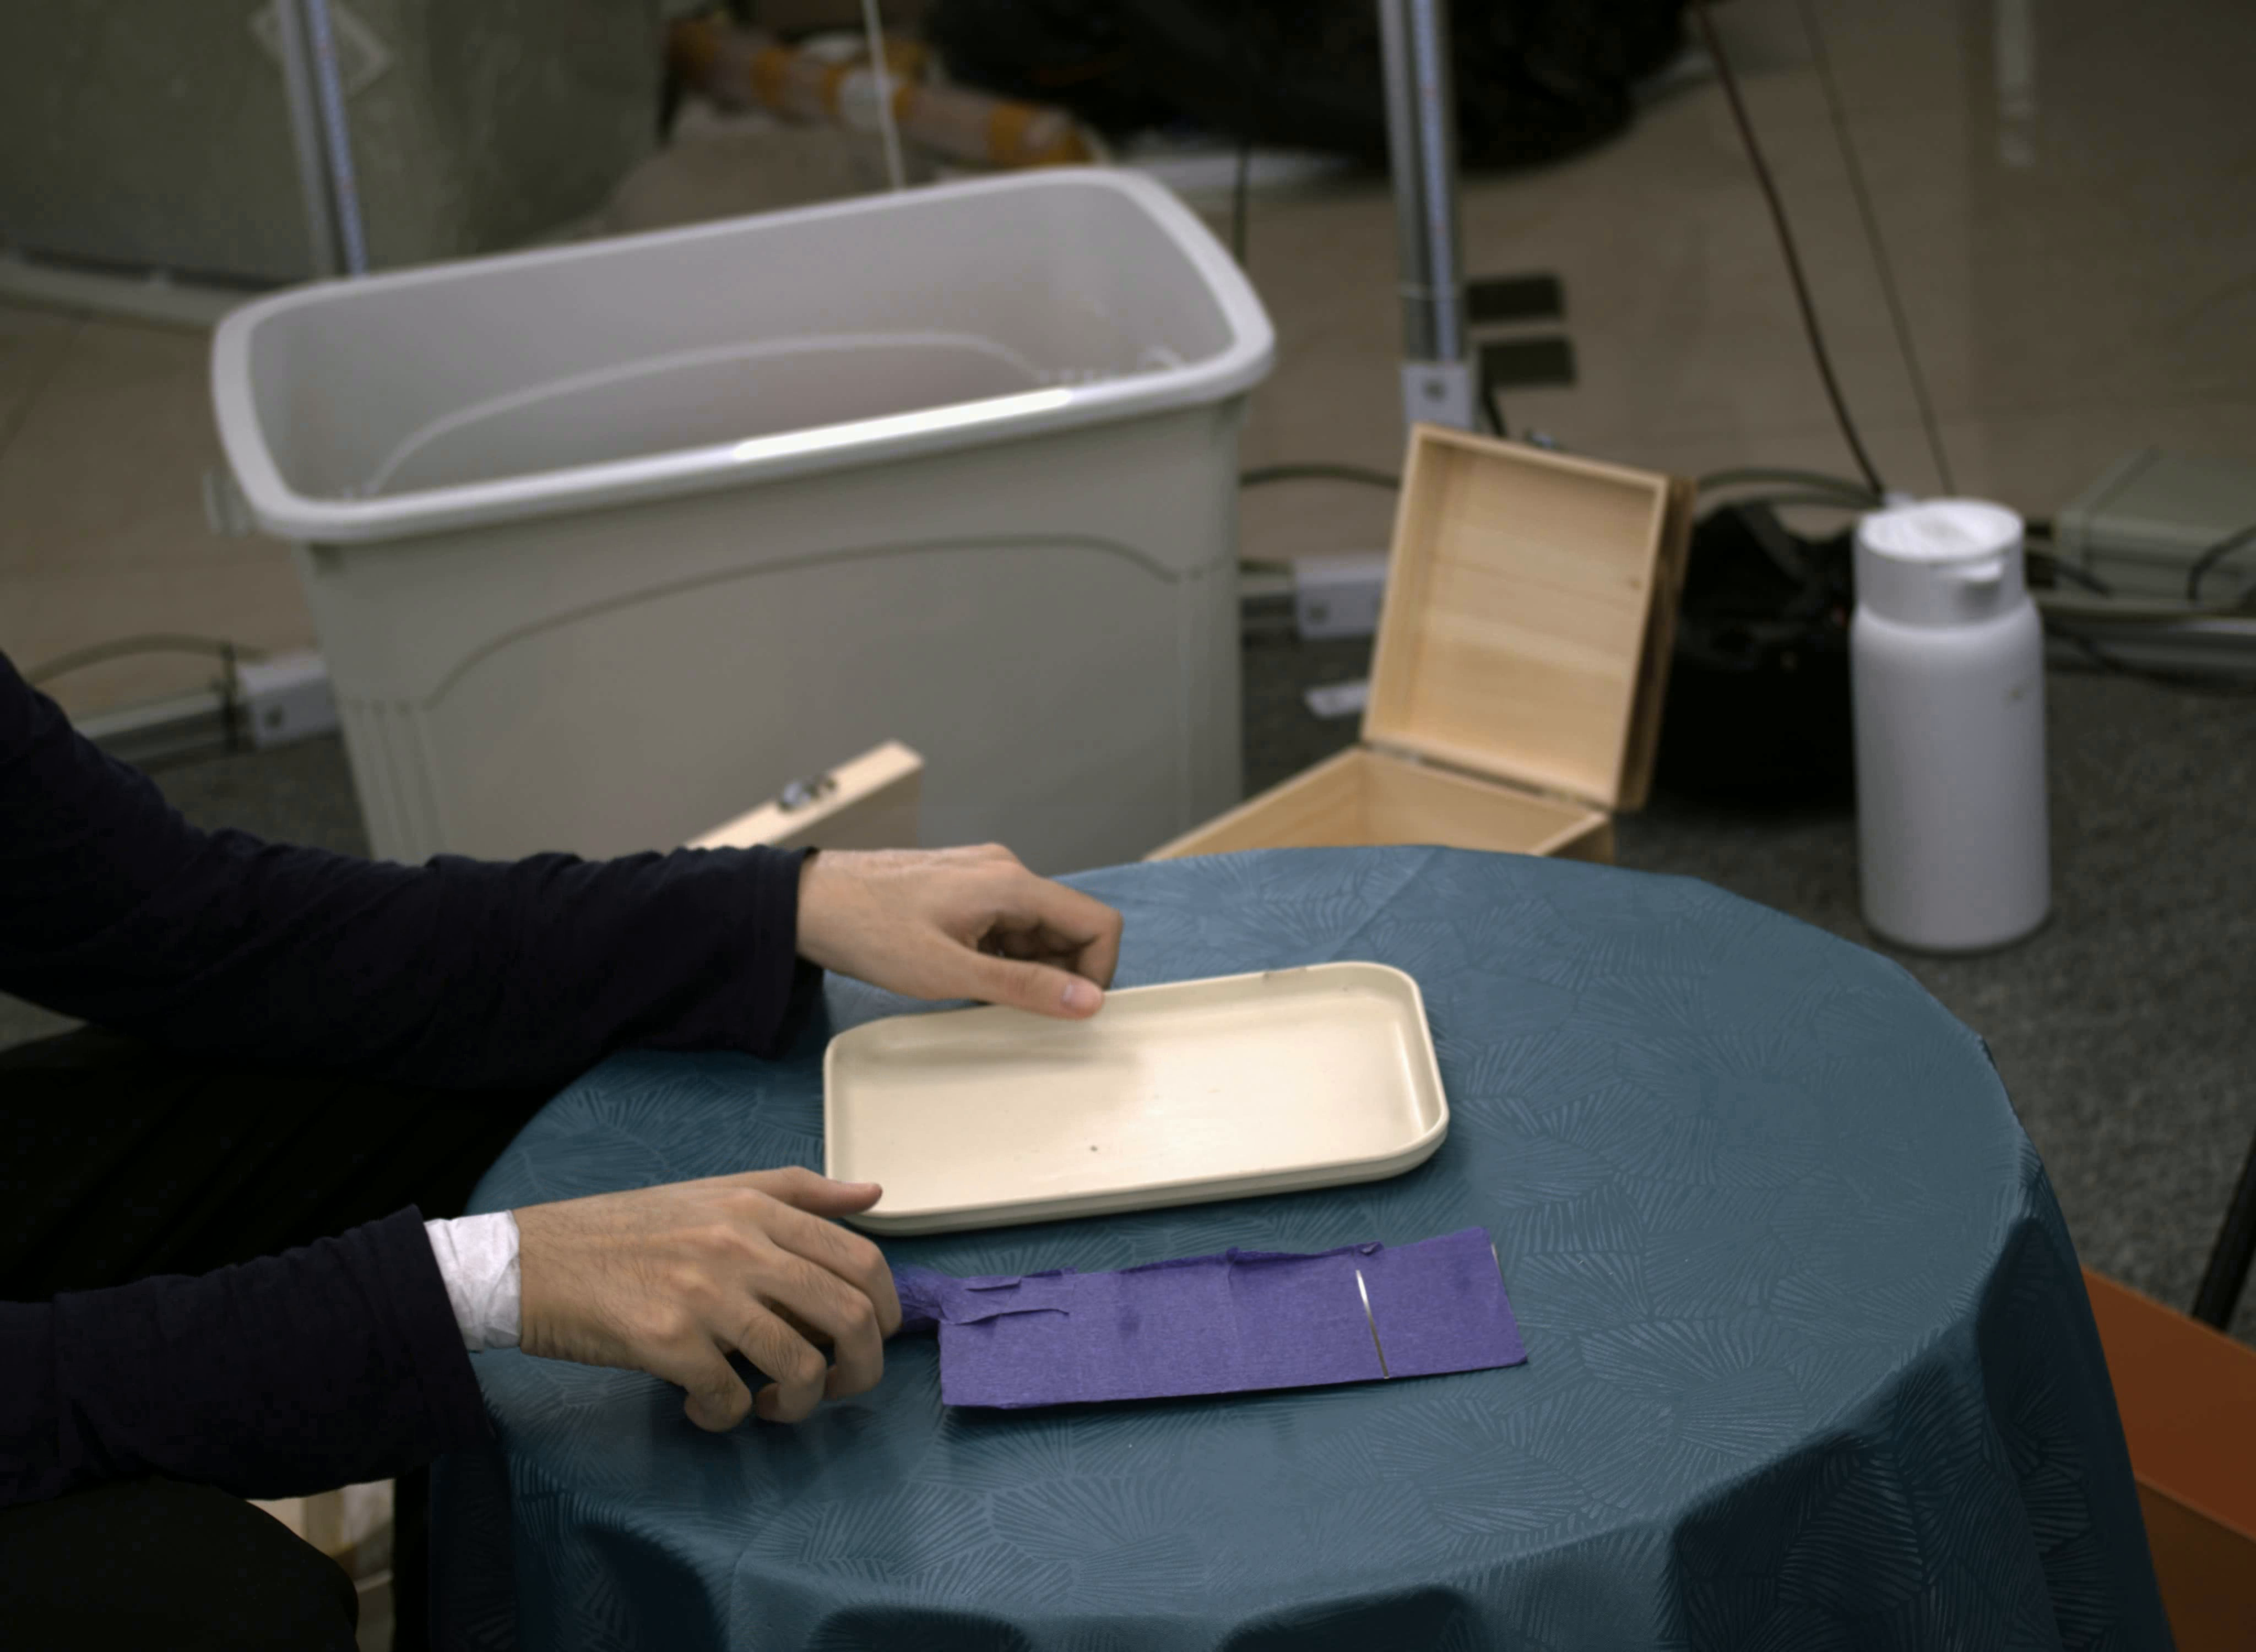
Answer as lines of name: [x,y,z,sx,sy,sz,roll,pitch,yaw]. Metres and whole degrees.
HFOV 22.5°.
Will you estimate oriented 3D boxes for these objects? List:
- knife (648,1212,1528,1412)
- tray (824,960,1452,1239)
knife: [-0.016,0.178,2.039,0.315,0.033,0.102,-7,24,-1]
tray: [0.002,0.107,2.200,0.239,0.018,0.169,-7,25,0]
